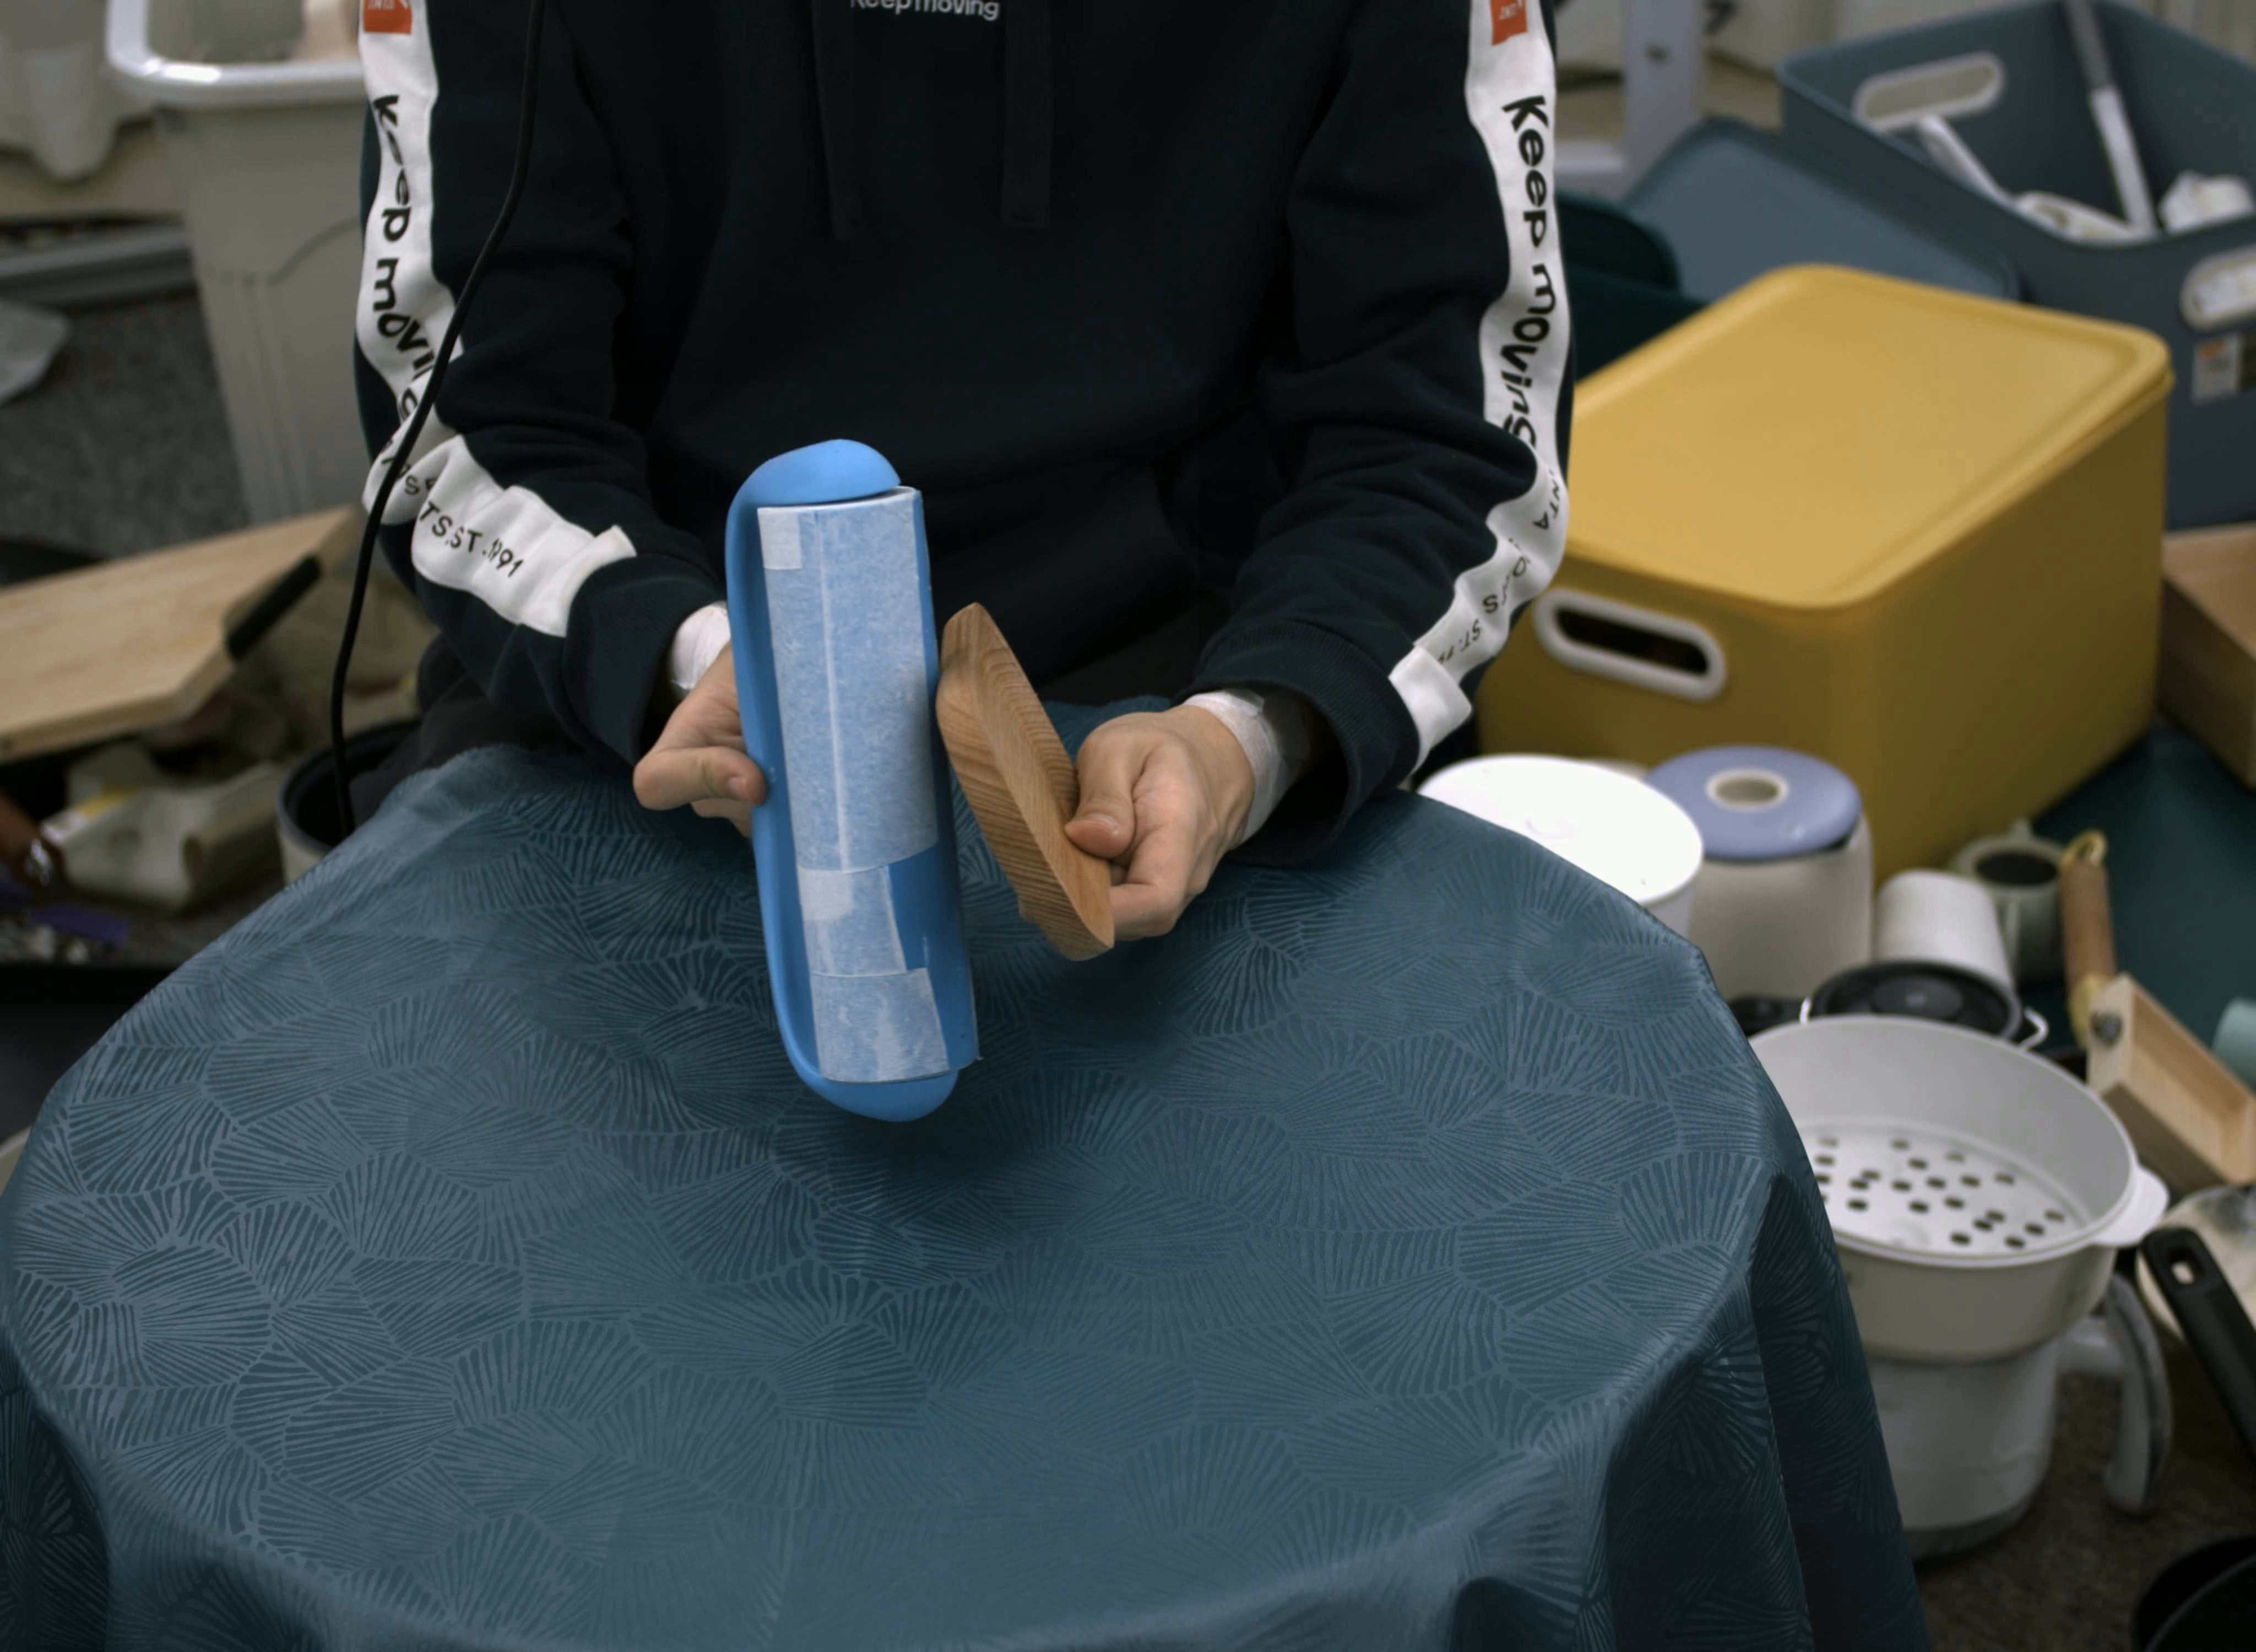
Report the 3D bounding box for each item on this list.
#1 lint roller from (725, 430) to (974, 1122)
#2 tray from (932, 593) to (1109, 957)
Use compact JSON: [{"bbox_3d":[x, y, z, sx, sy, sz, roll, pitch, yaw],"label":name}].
[{"bbox_3d":[-0.099,-0.020,1.908,0.068,0.229,0.180,-8,5,-11],"label":"lint roller"},{"bbox_3d":[-0.038,-0.018,1.882,0.020,0.101,0.232,-26,12,3],"label":"tray"}]
